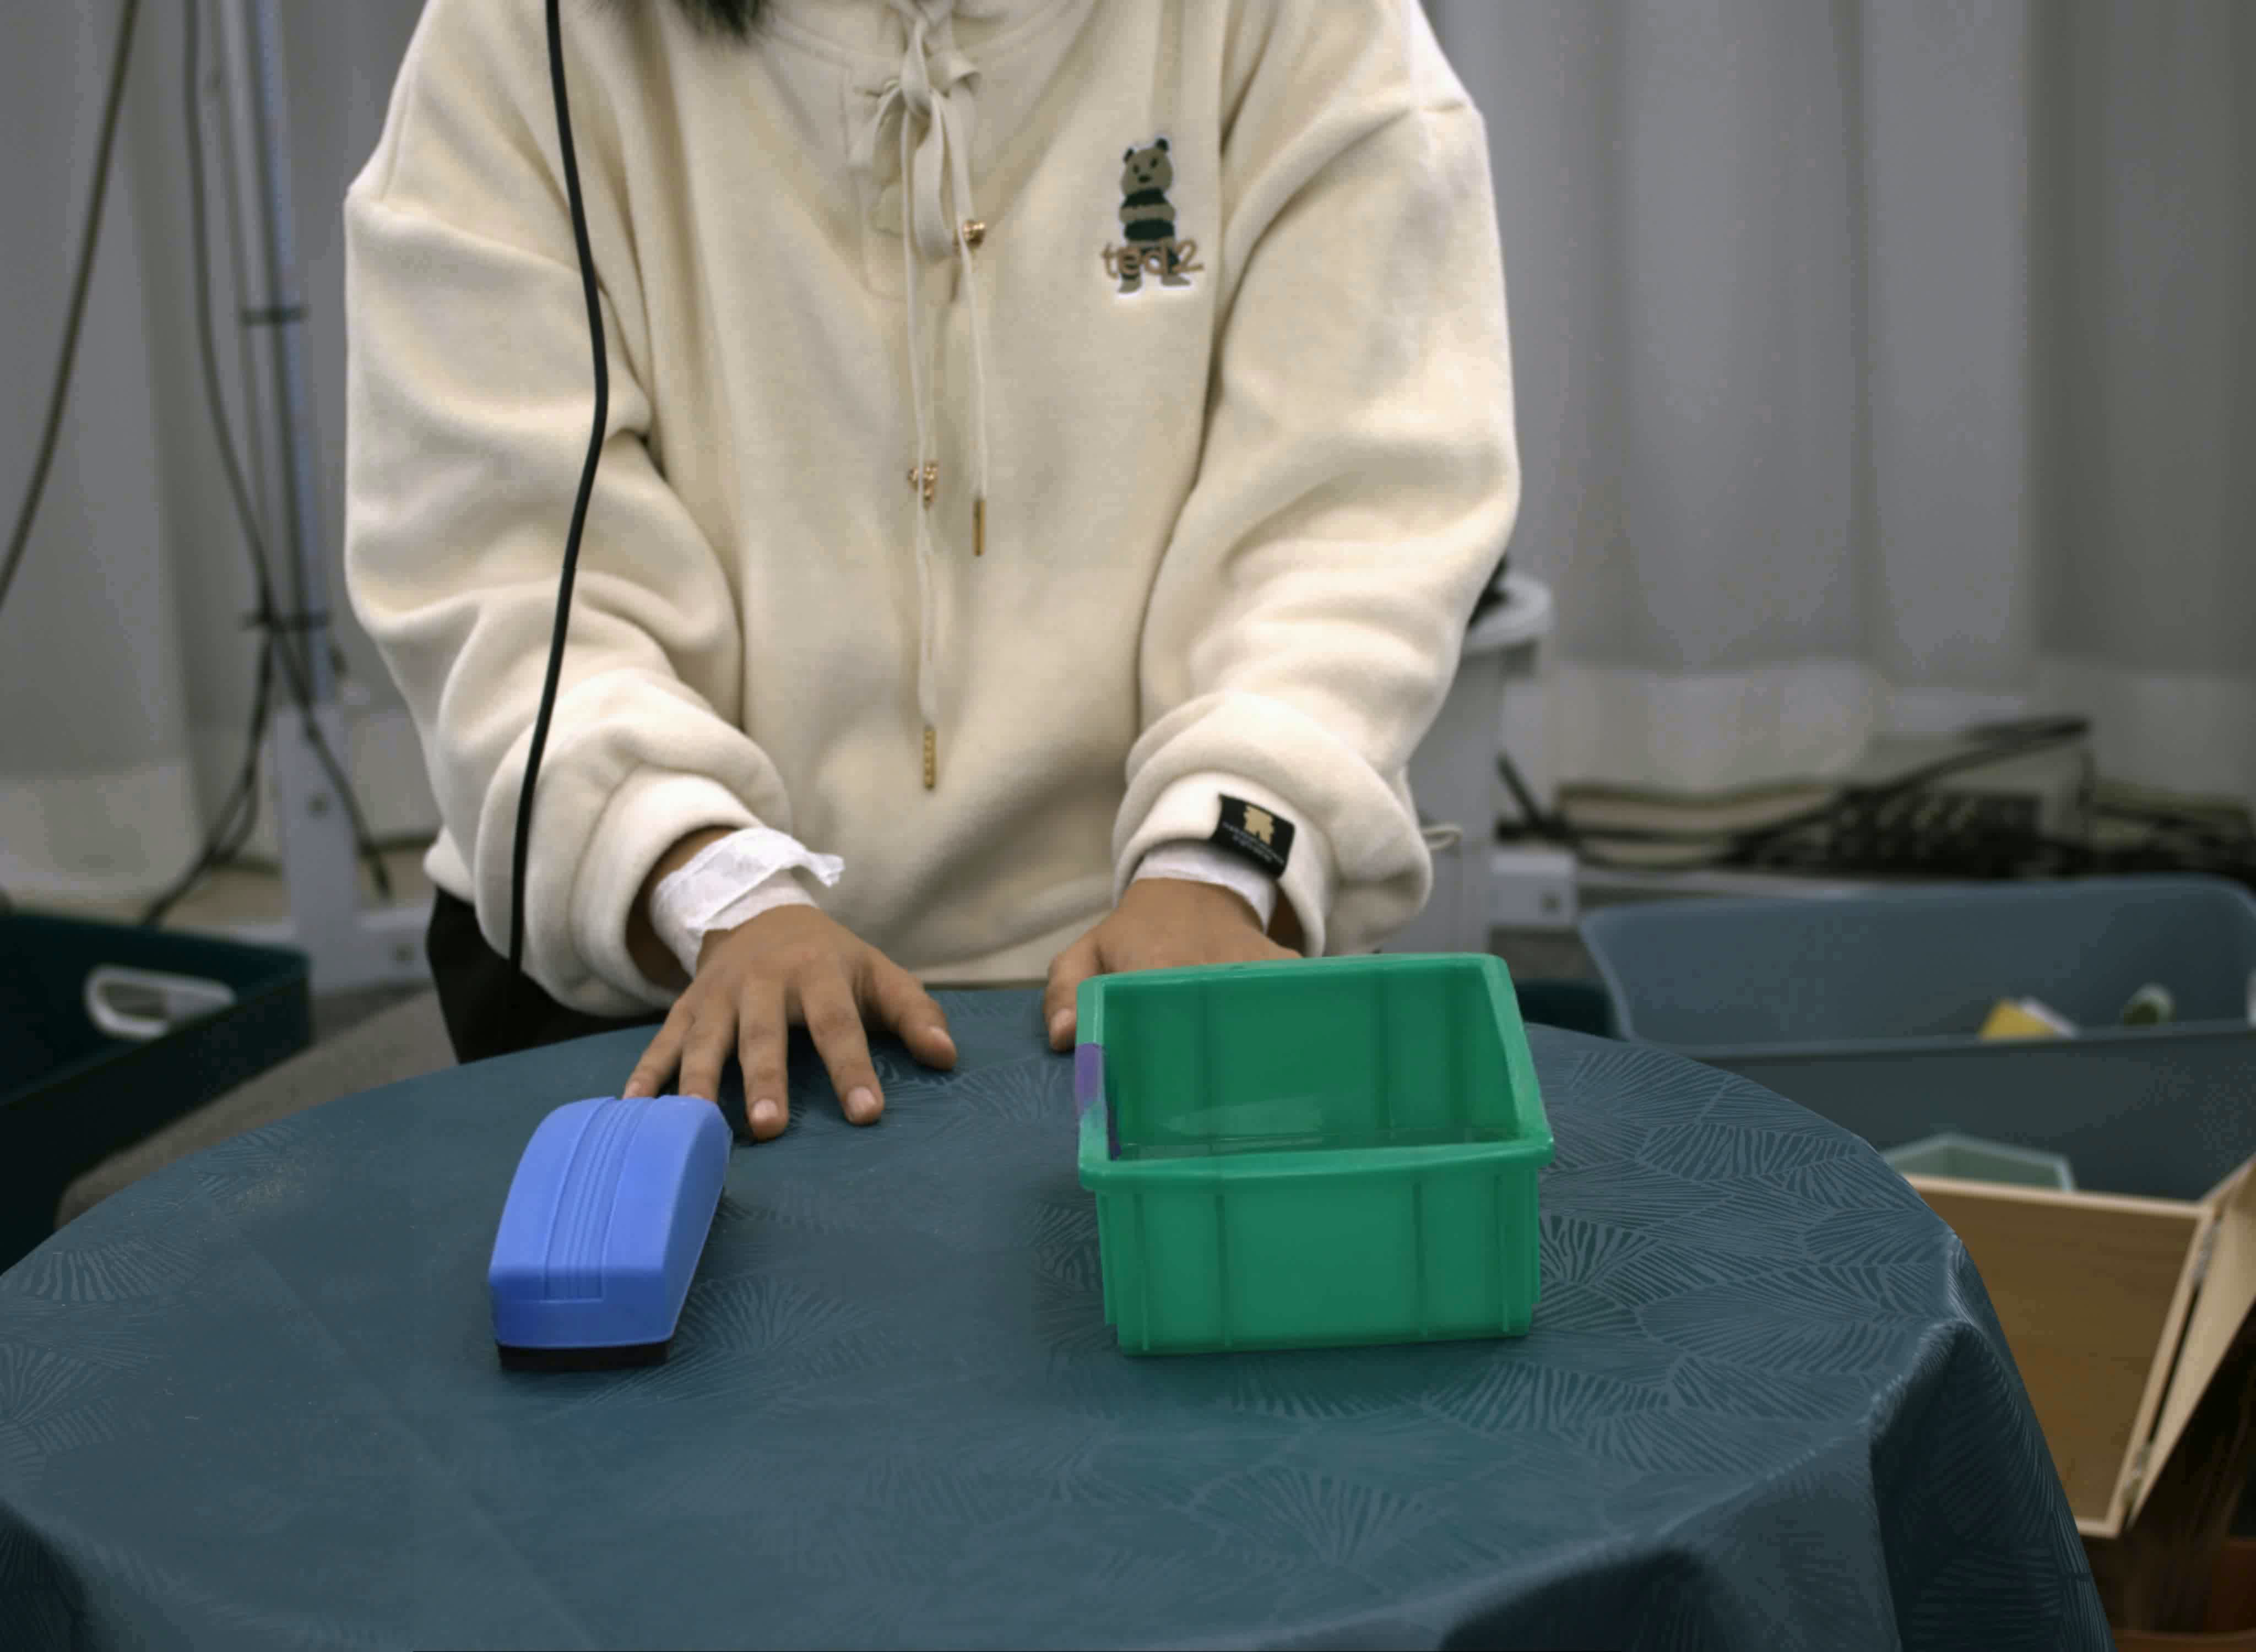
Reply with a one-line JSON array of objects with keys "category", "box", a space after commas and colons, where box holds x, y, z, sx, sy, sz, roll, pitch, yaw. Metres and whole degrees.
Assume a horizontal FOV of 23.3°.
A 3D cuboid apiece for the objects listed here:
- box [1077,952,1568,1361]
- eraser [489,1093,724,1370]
[{"category": "box", "box": [0.056, 0.099, 1.645, 0.138, 0.065, 0.212, -5, 15, -1]}, {"category": "eraser", "box": [-0.156, 0.116, 1.652, 0.053, 0.047, 0.163, -2, 15, 3]}]
